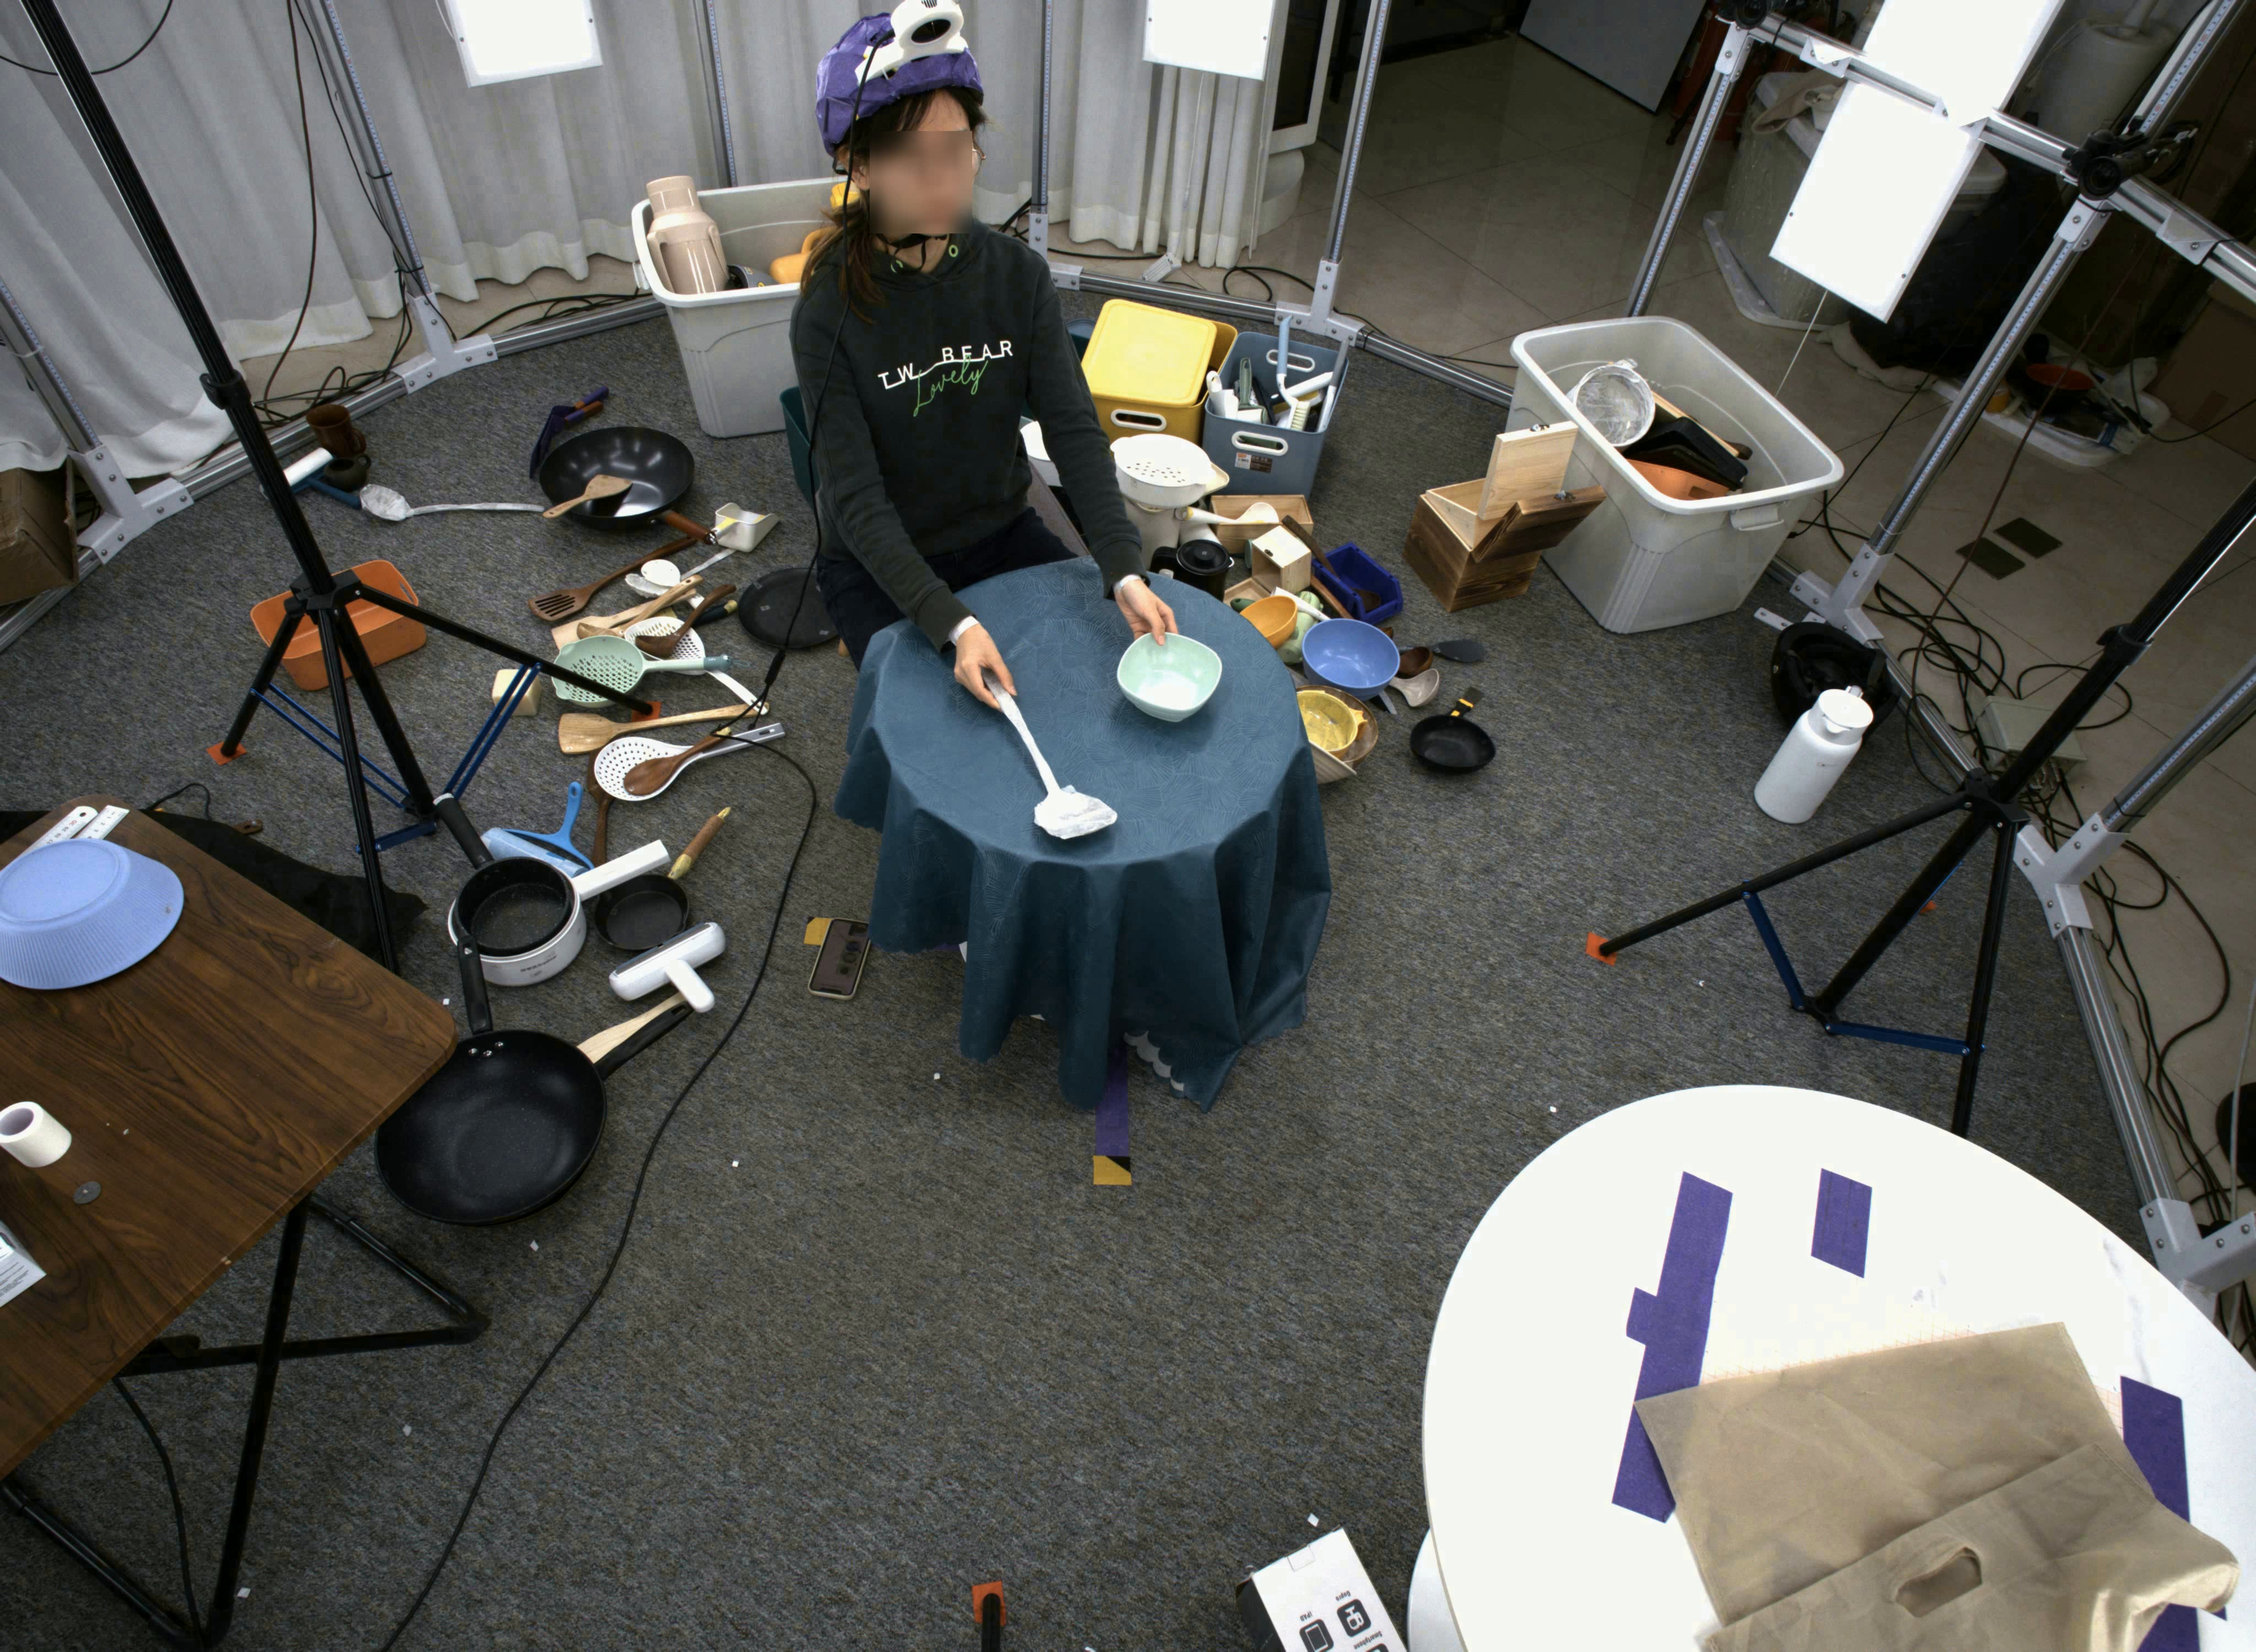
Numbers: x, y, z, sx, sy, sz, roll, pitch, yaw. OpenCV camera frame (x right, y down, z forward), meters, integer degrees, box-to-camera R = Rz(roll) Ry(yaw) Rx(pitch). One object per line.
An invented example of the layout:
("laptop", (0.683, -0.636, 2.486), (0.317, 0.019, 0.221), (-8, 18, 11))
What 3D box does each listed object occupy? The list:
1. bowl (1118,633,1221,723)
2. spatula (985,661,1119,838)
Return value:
("bowl", (0.057, -0.201, 1.825), (0.151, 0.057, 0.155), (3, 54, -4))
("spatula", (-0.126, -0.114, 1.742), (0.099, 0.044, 0.373), (-16, 55, -20))
